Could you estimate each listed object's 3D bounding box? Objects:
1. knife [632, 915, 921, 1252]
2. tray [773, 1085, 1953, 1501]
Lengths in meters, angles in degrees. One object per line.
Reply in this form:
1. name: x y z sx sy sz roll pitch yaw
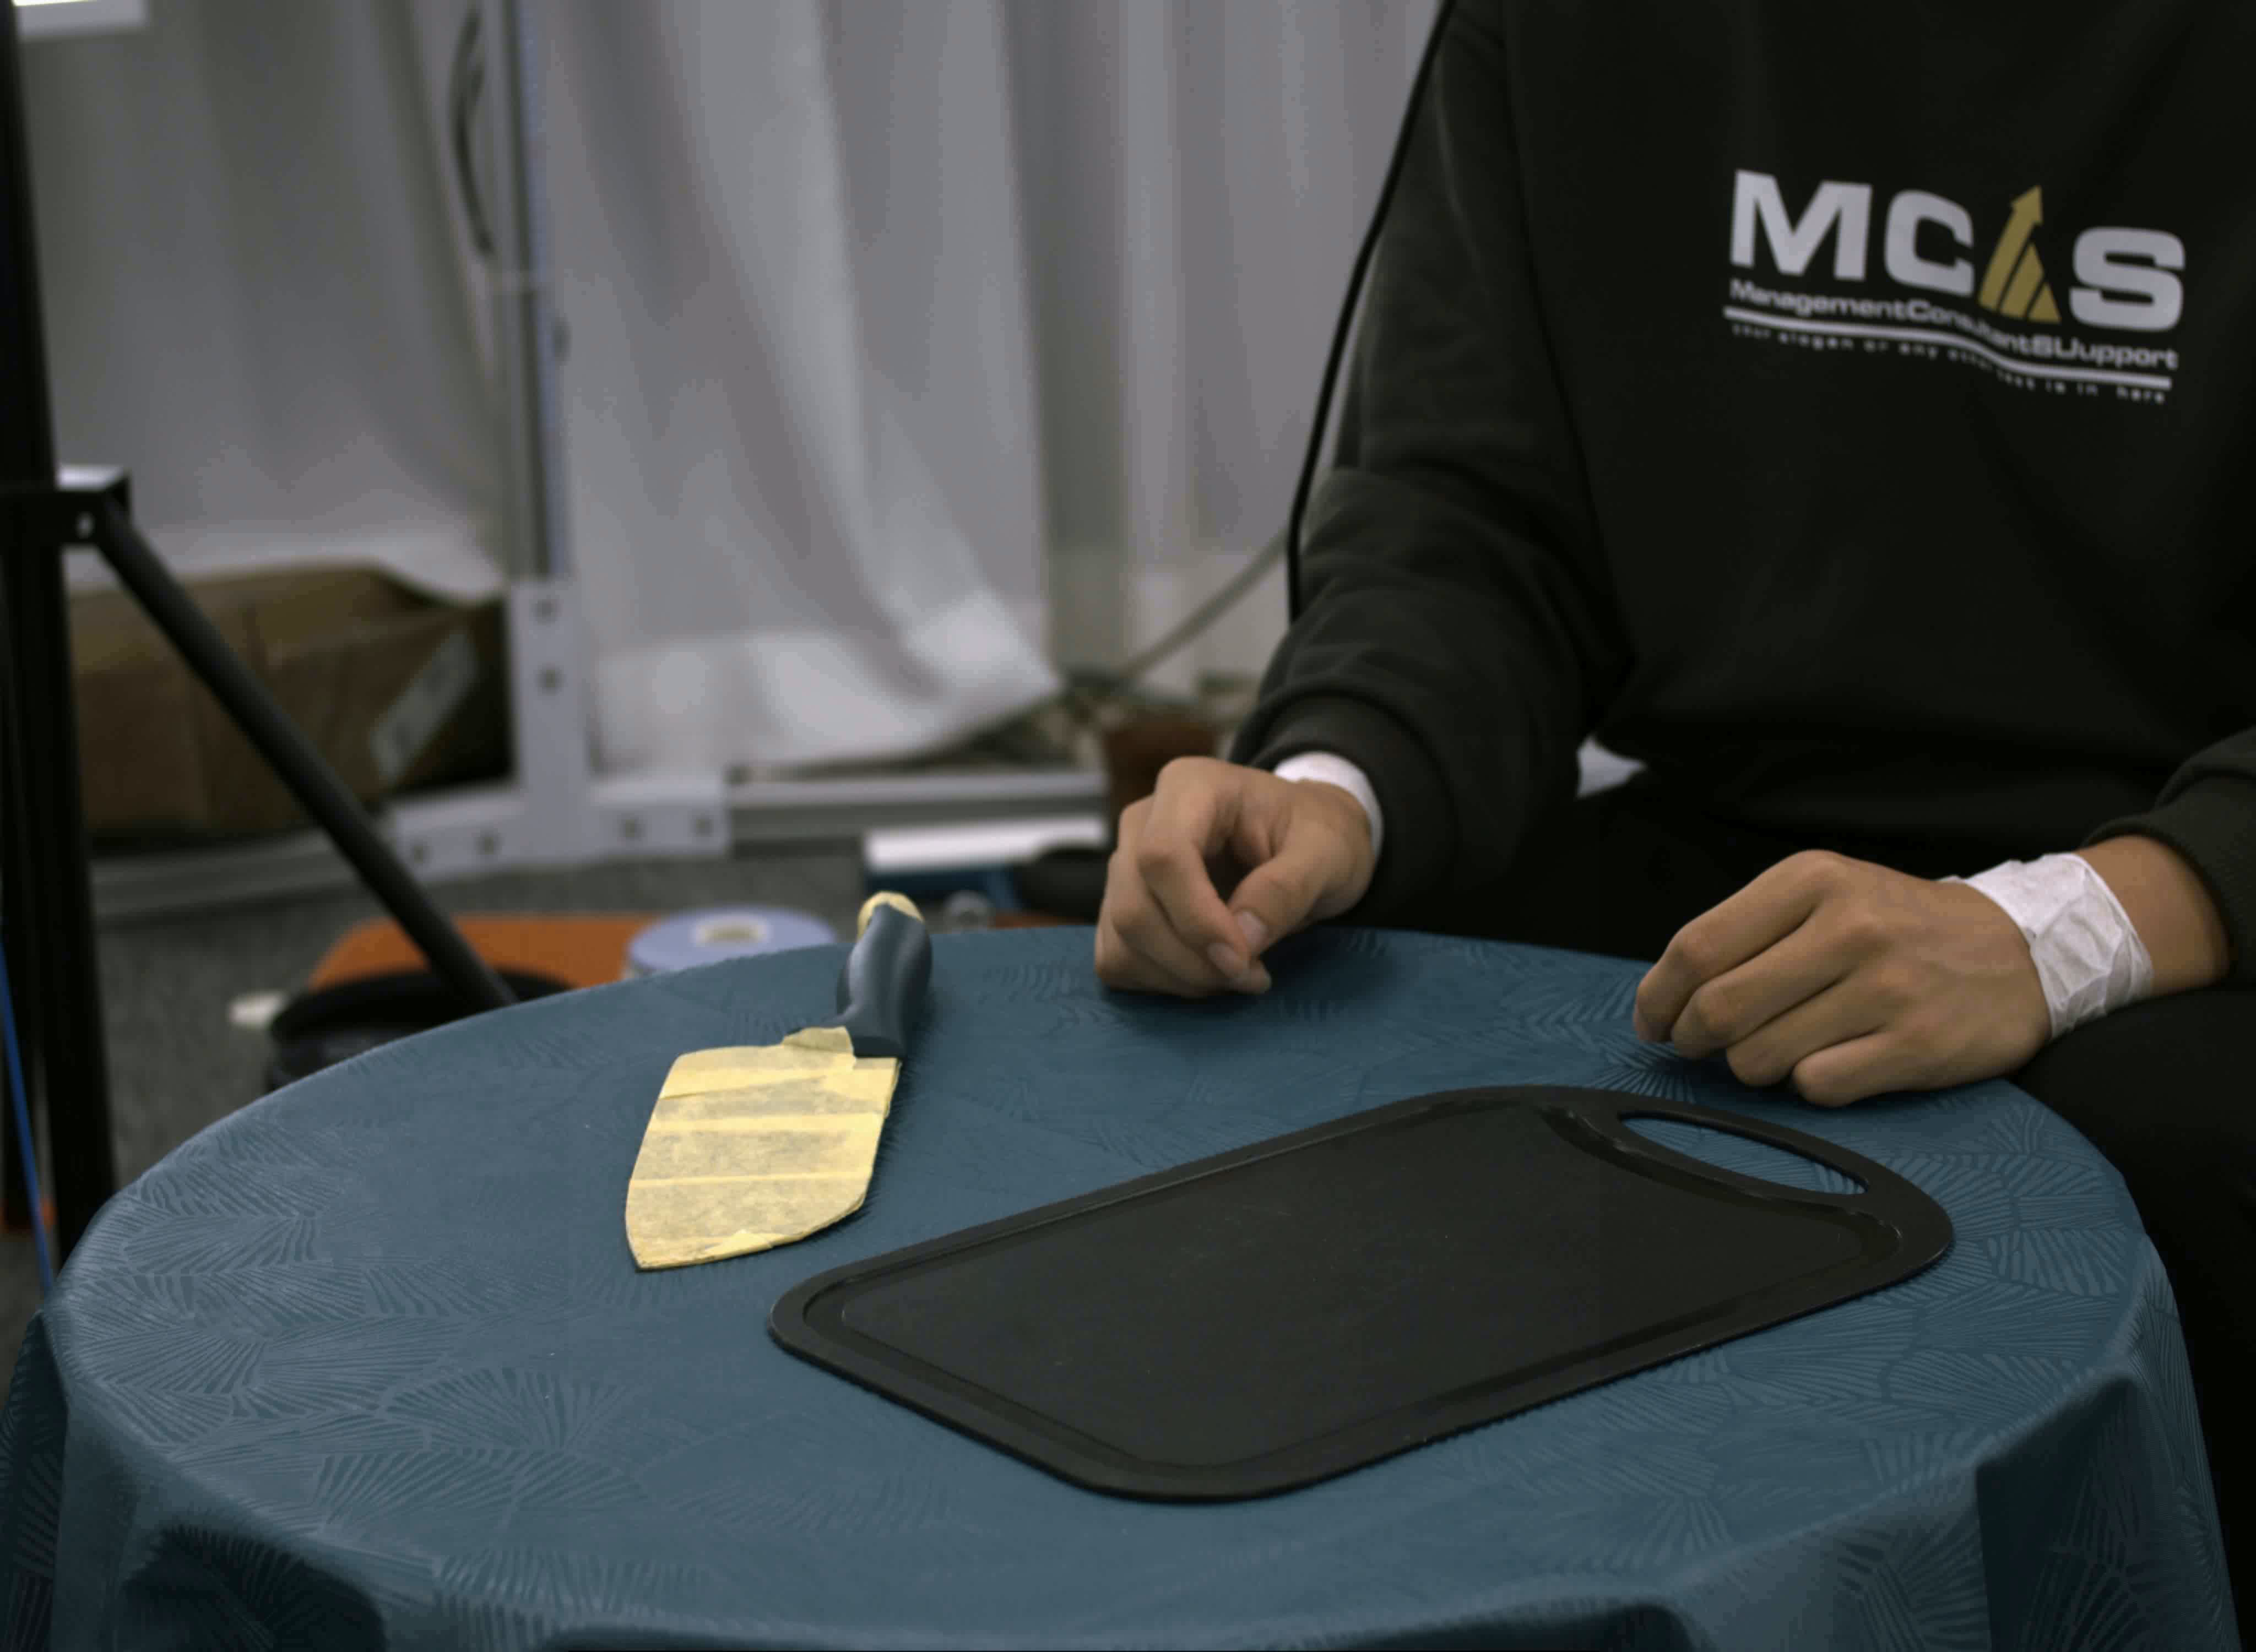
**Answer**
1. knife: -0.105 0.080 1.653 0.081 0.027 0.289 1 17 6
2. tray: 0.074 0.122 1.486 0.318 0.010 0.216 -13 19 -34
